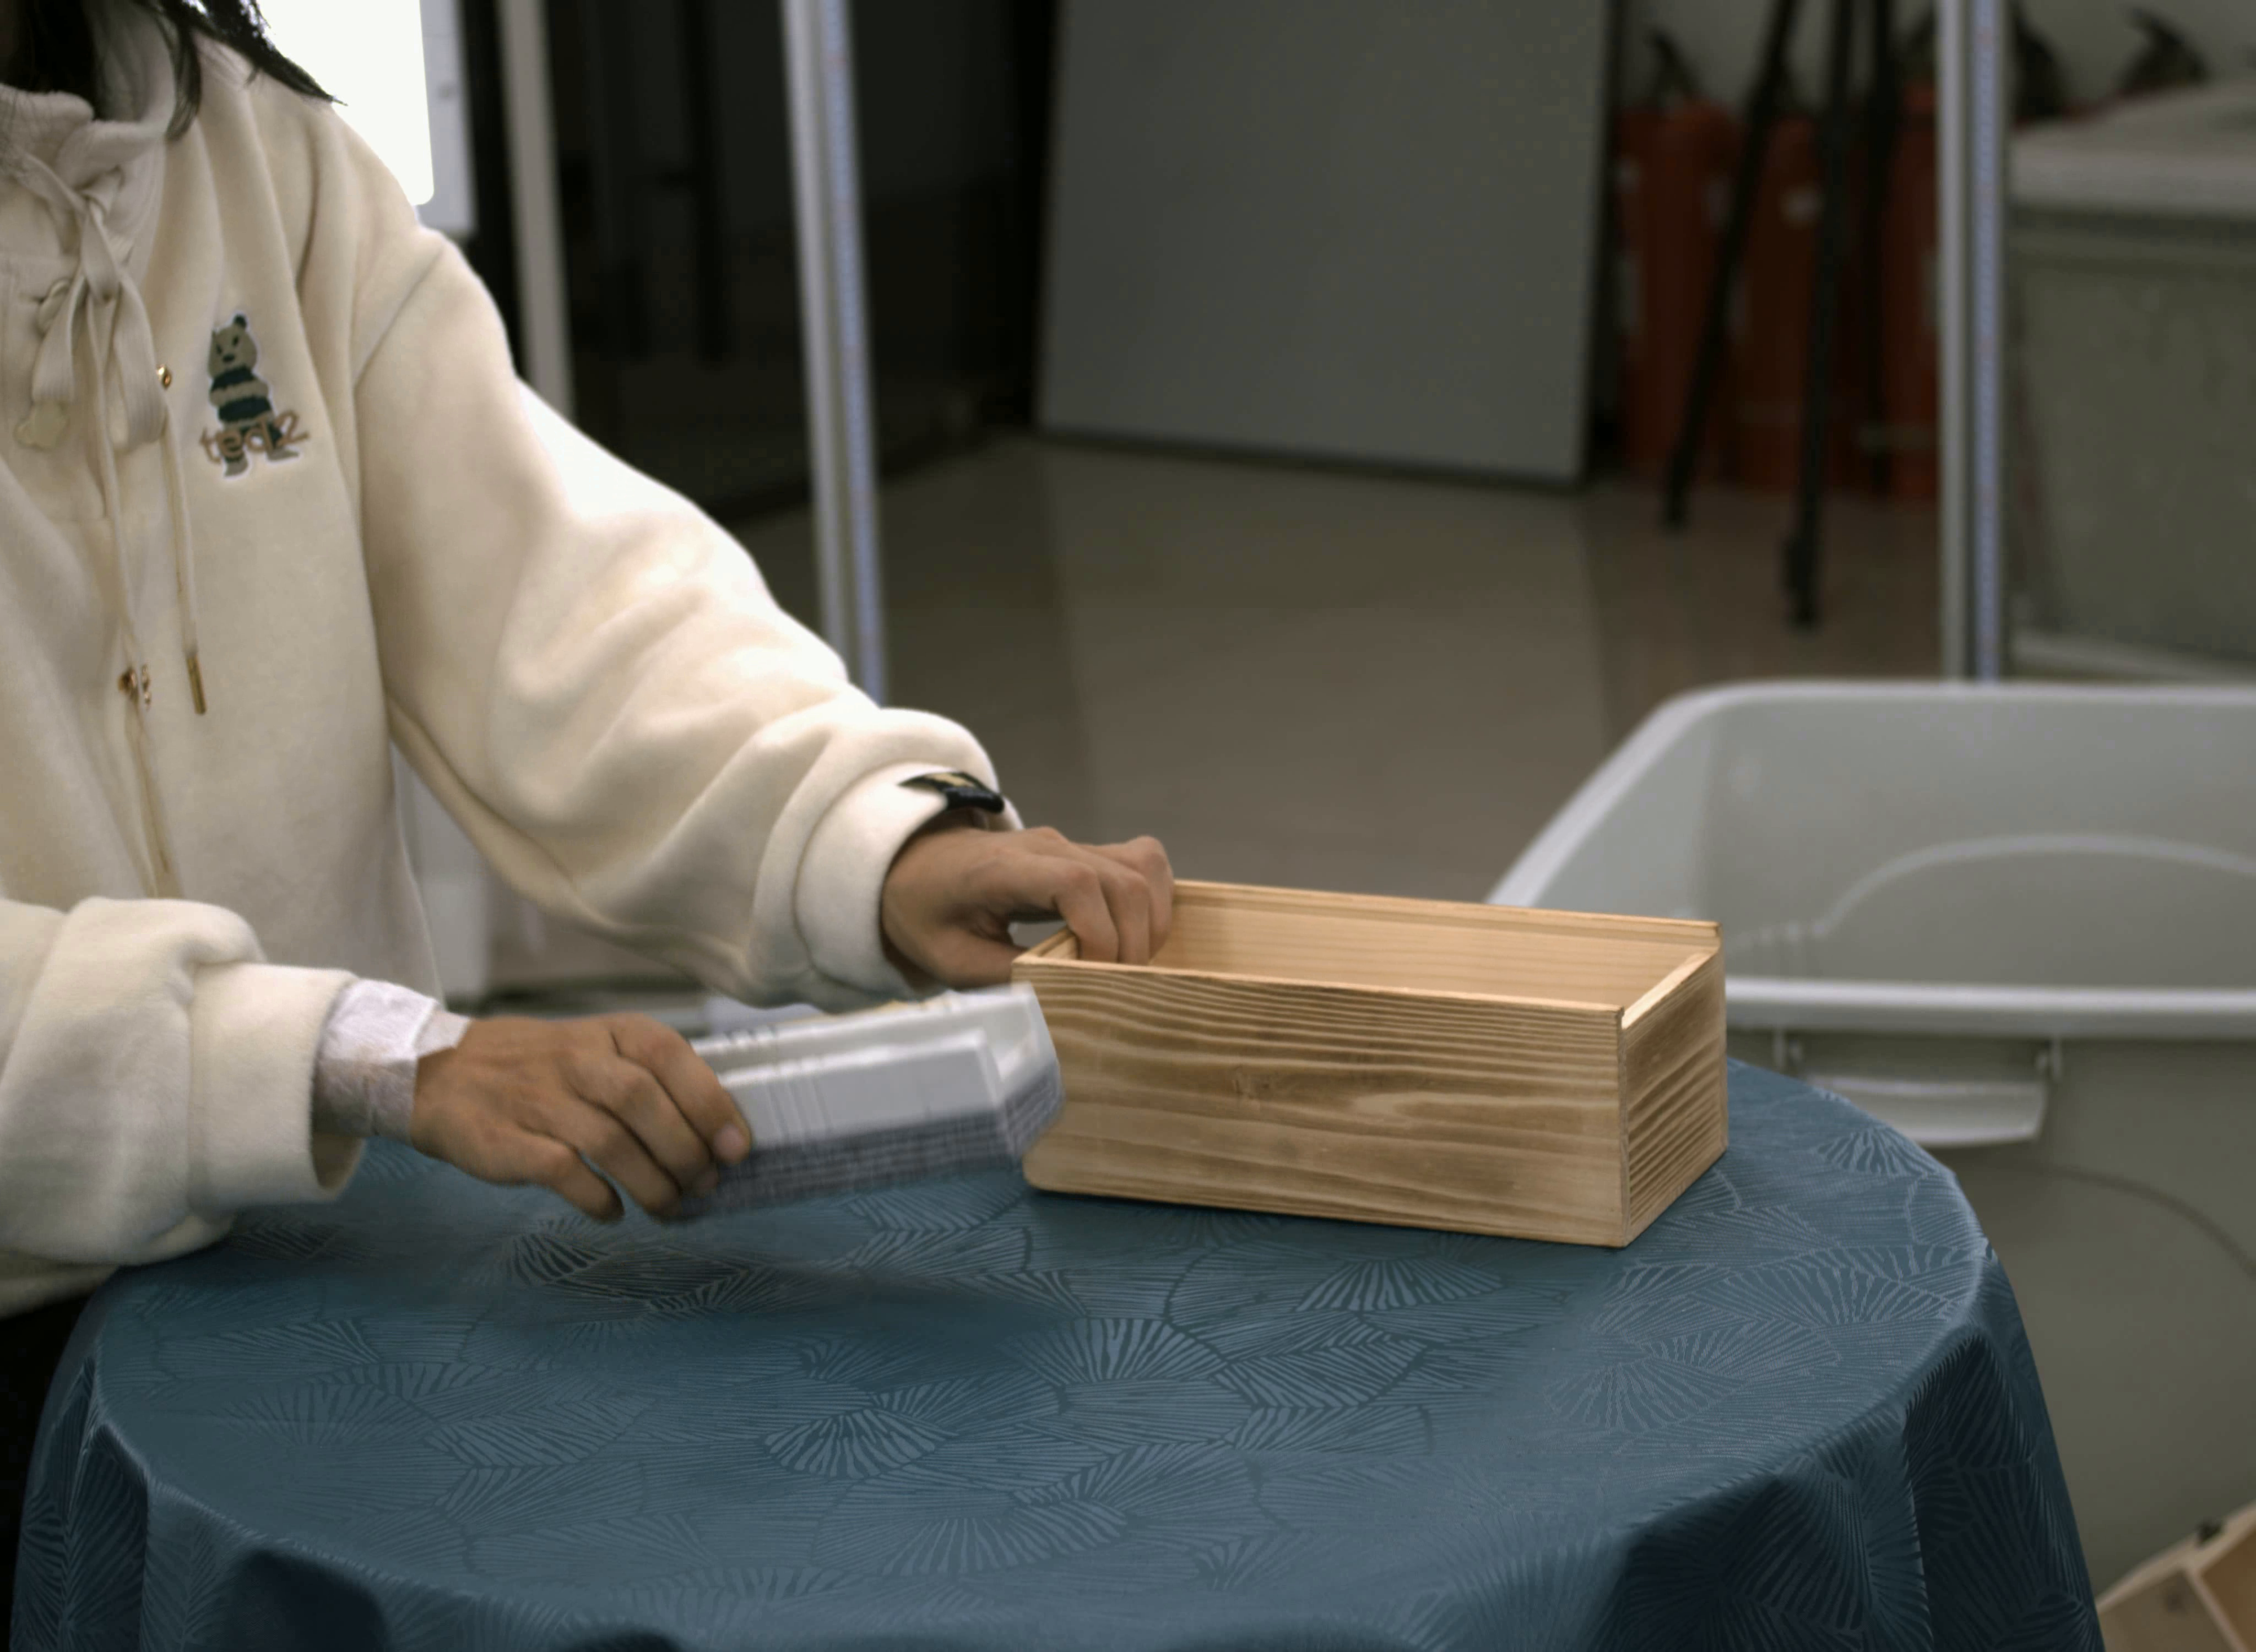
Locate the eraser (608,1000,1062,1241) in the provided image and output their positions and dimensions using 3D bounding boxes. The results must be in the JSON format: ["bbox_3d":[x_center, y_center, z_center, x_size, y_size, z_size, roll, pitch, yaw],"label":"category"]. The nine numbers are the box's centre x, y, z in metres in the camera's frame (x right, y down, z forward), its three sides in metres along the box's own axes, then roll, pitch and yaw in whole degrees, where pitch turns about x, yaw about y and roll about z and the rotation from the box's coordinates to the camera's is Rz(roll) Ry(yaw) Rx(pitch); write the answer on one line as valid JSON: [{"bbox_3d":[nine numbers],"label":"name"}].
[{"bbox_3d":[-0.090,0.092,1.679,0.134,0.047,0.049,-10,16,25],"label":"eraser"}]

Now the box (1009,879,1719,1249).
[{"bbox_3d":[0.078,0.075,1.761,0.211,0.081,0.106,4,15,25],"label":"box"}]
